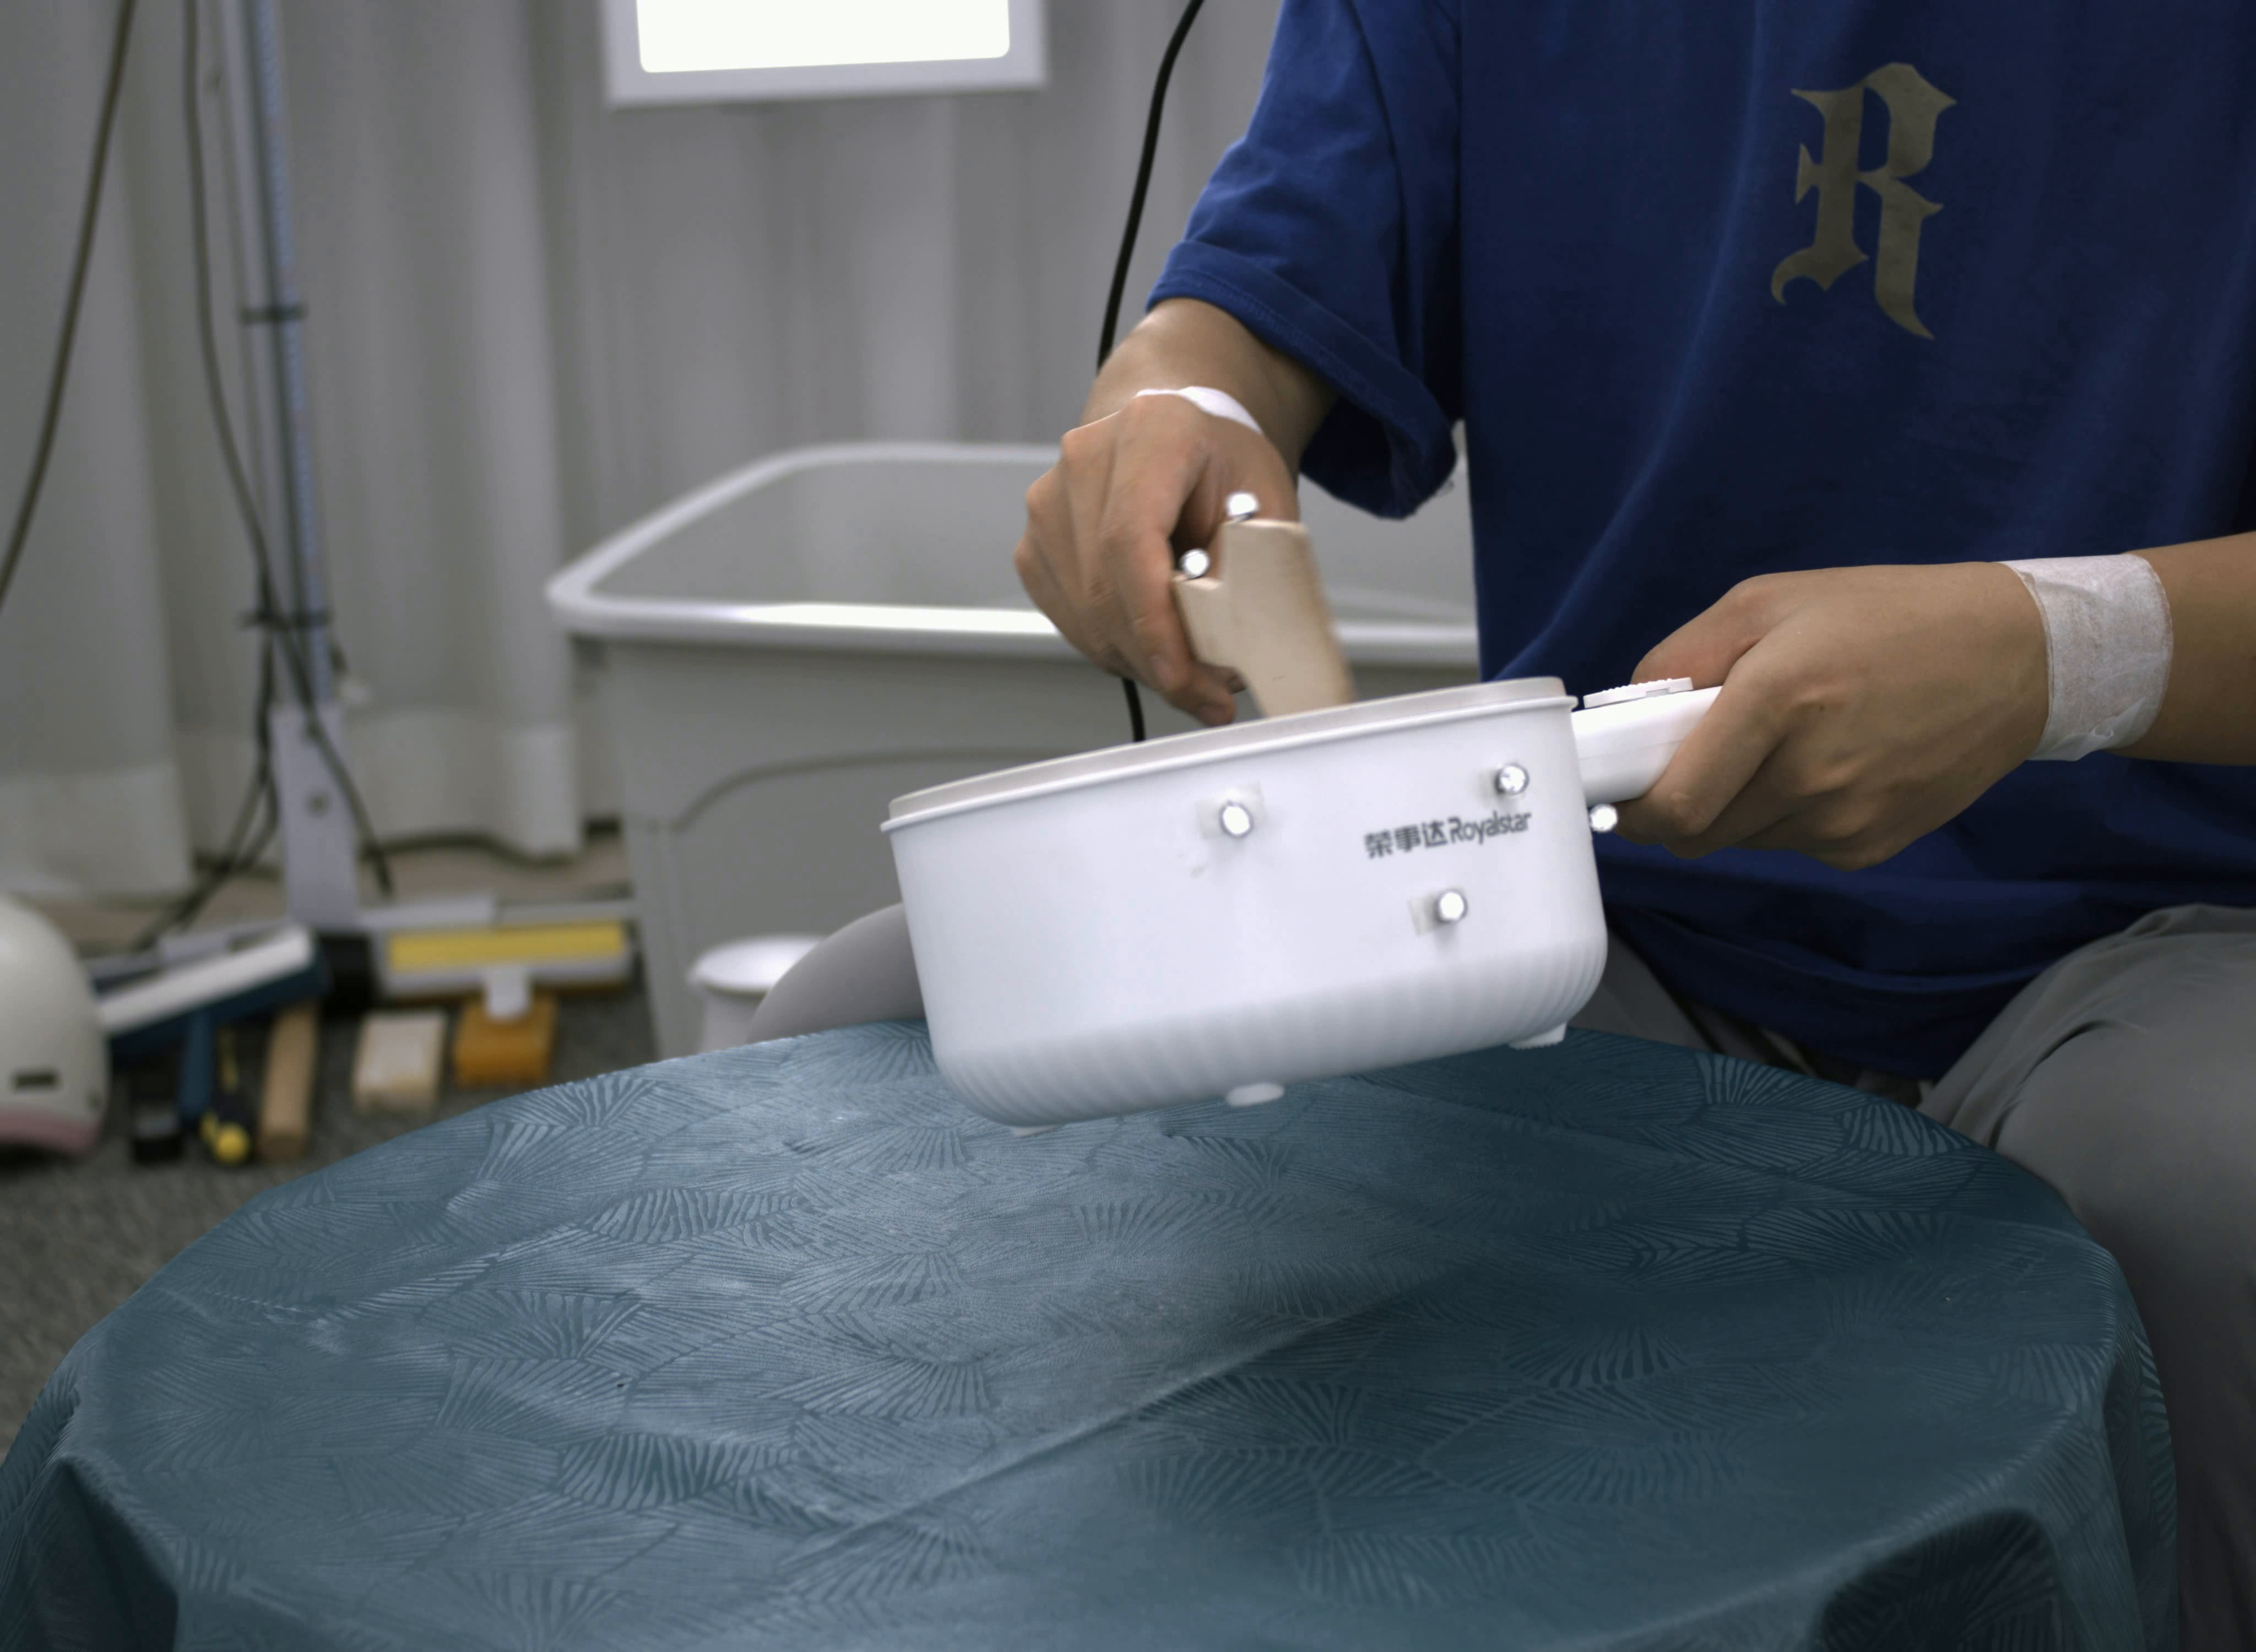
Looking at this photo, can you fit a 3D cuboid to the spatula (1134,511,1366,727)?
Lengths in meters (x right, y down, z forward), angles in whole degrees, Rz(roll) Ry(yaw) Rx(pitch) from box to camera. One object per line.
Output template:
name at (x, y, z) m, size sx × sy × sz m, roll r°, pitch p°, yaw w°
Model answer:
spatula at (0.030, -0.062, 1.627) m, size 0.010 × 0.072 × 0.294 m, roll -17°, pitch 8°, yaw -8°

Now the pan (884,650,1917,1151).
pan at (0.097, 0.017, 1.594) m, size 0.353 × 0.102 × 0.201 m, roll -9°, pitch -4°, yaw -37°
